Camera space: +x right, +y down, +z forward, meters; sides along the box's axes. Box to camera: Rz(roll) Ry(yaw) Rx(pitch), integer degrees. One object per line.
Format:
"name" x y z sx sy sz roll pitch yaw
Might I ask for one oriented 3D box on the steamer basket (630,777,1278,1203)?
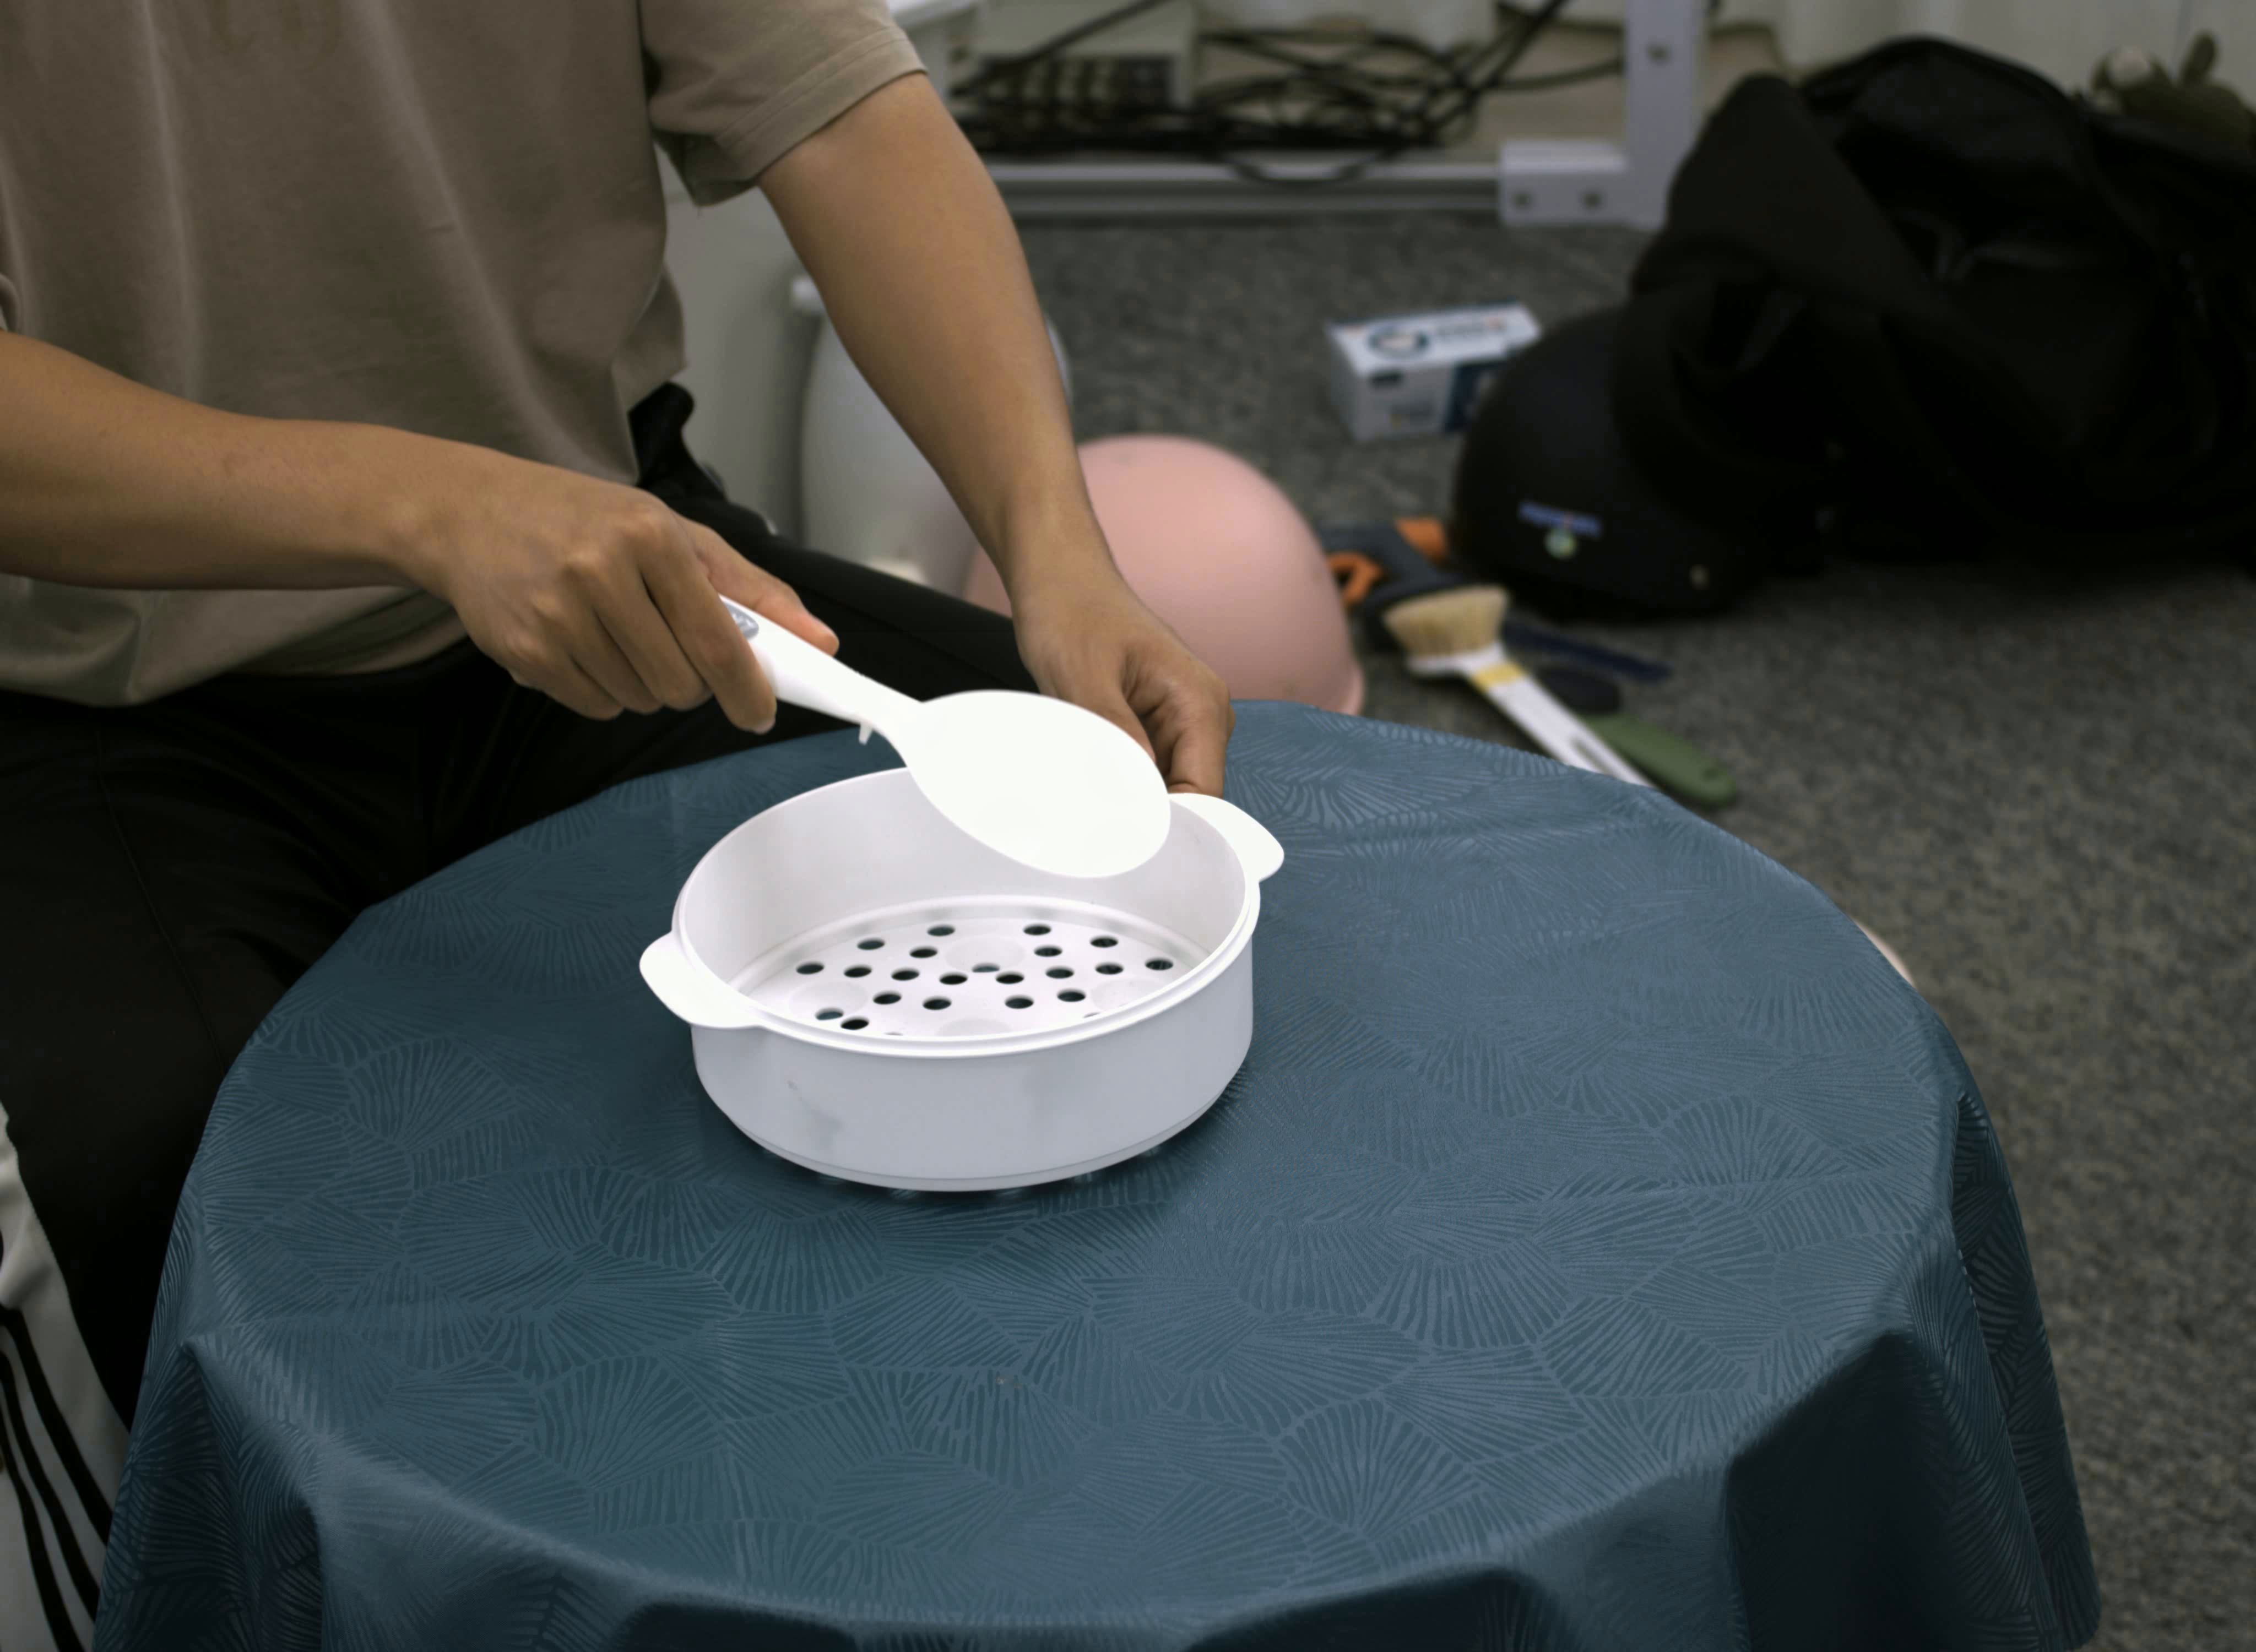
"steamer basket" -0.058 0.057 1.924 0.231 0.068 0.203 -13 29 -24

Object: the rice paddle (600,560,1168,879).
"rice paddle" -0.081 -0.037 1.915 0.204 0.029 0.070 24 54 3
